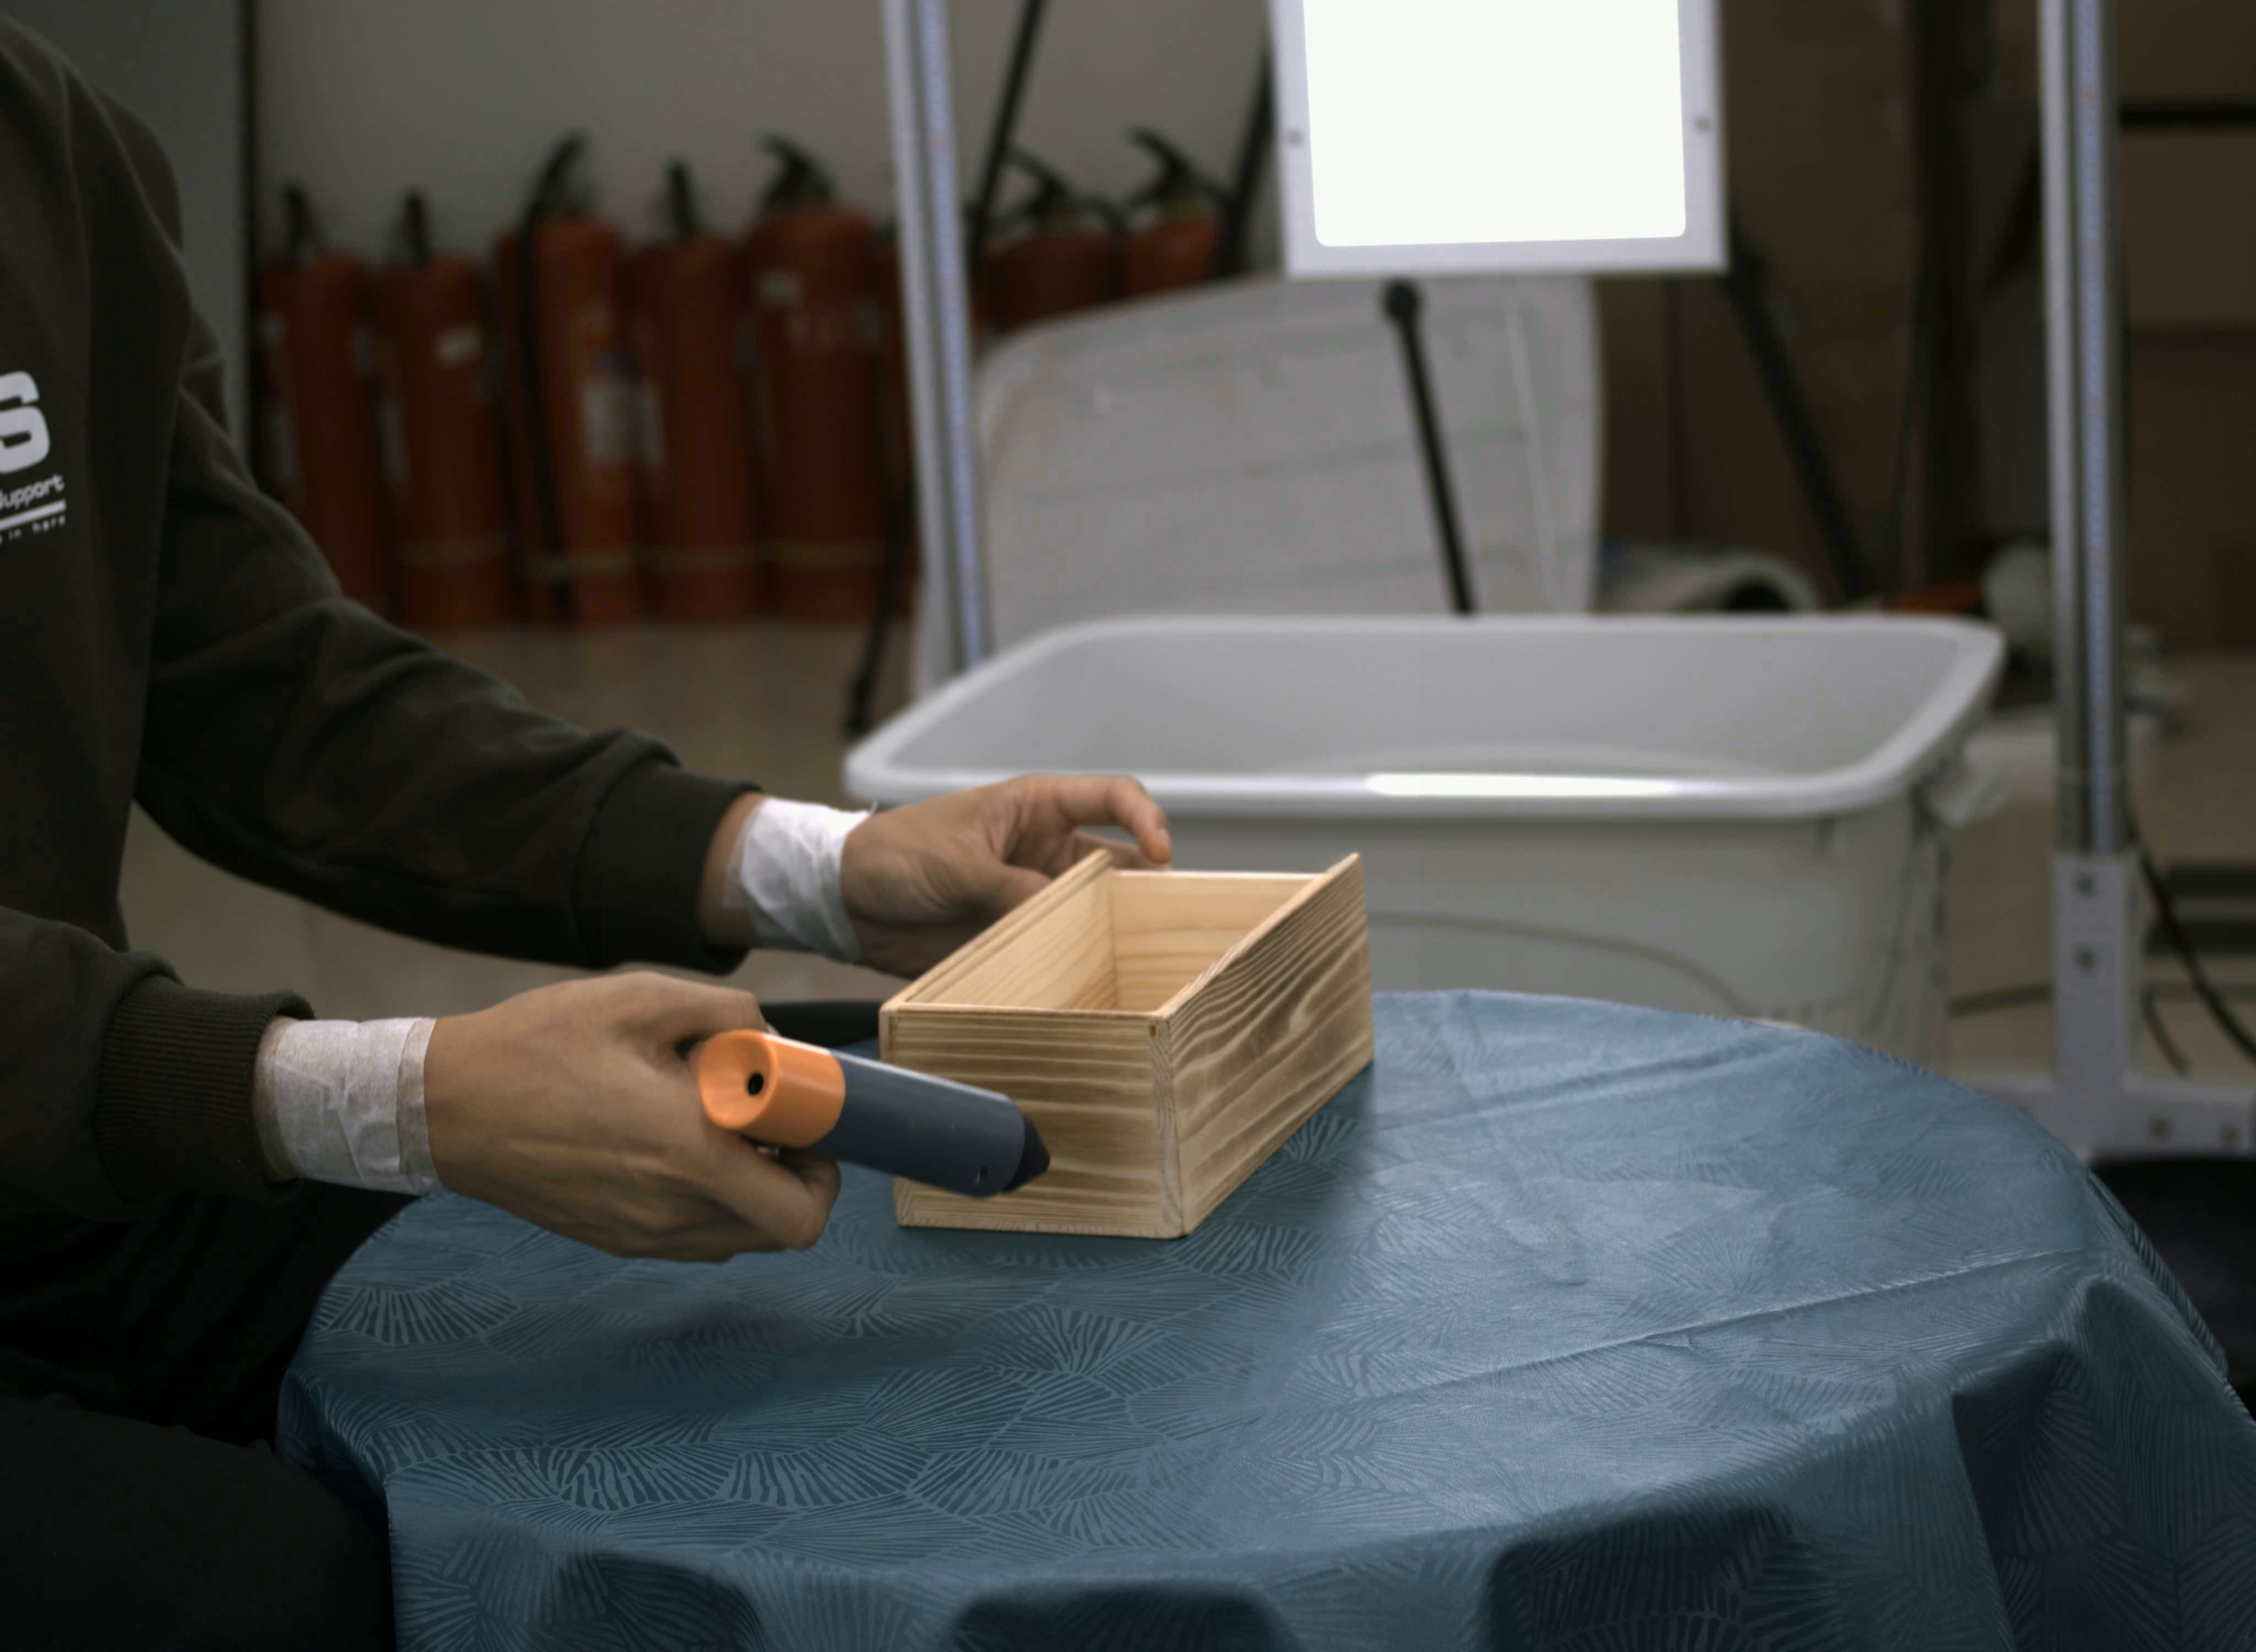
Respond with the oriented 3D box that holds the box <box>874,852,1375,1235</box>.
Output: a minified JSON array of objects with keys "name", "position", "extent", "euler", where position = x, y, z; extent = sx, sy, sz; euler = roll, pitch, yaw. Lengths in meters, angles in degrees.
[{"name":"box","position":[0.003,0.074,1.947],"extent":[0.109,0.080,0.207],"euler":[0,15,22]}]

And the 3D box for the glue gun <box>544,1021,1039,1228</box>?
[{"name":"glue gun","position":[-0.110,0.098,1.777],"extent":[0.143,0.041,0.116],"euler":[0,-24,40]}]
